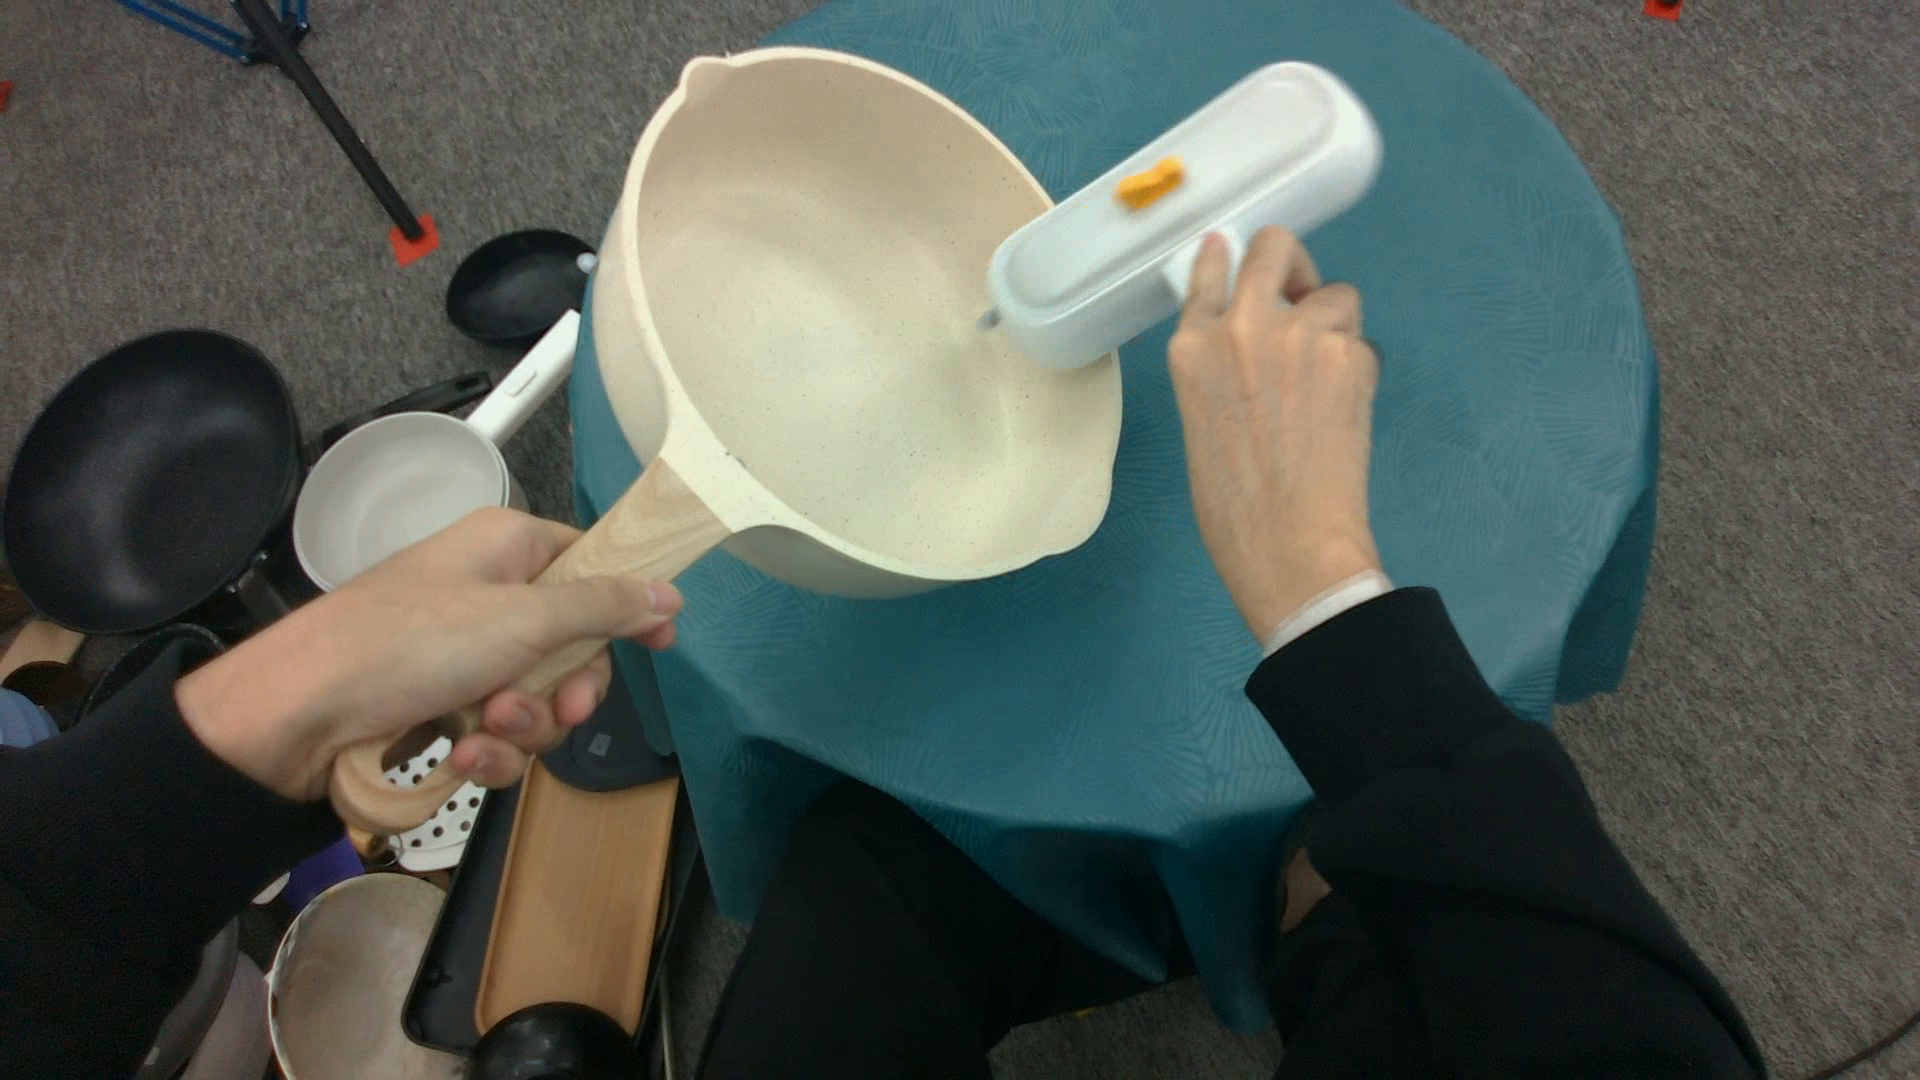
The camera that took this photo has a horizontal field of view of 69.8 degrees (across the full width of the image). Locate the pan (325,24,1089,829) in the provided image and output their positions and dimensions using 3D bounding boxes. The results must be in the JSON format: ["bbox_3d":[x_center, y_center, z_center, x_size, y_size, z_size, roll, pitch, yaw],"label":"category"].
[{"bbox_3d":[-0.100,-0.046,0.562,0.263,0.101,0.437,48,49,-13],"label":"pan"}]

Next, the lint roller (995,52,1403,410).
[{"bbox_3d":[0.121,-0.118,0.595,0.193,0.074,0.193,-22,54,4],"label":"lint roller"}]
